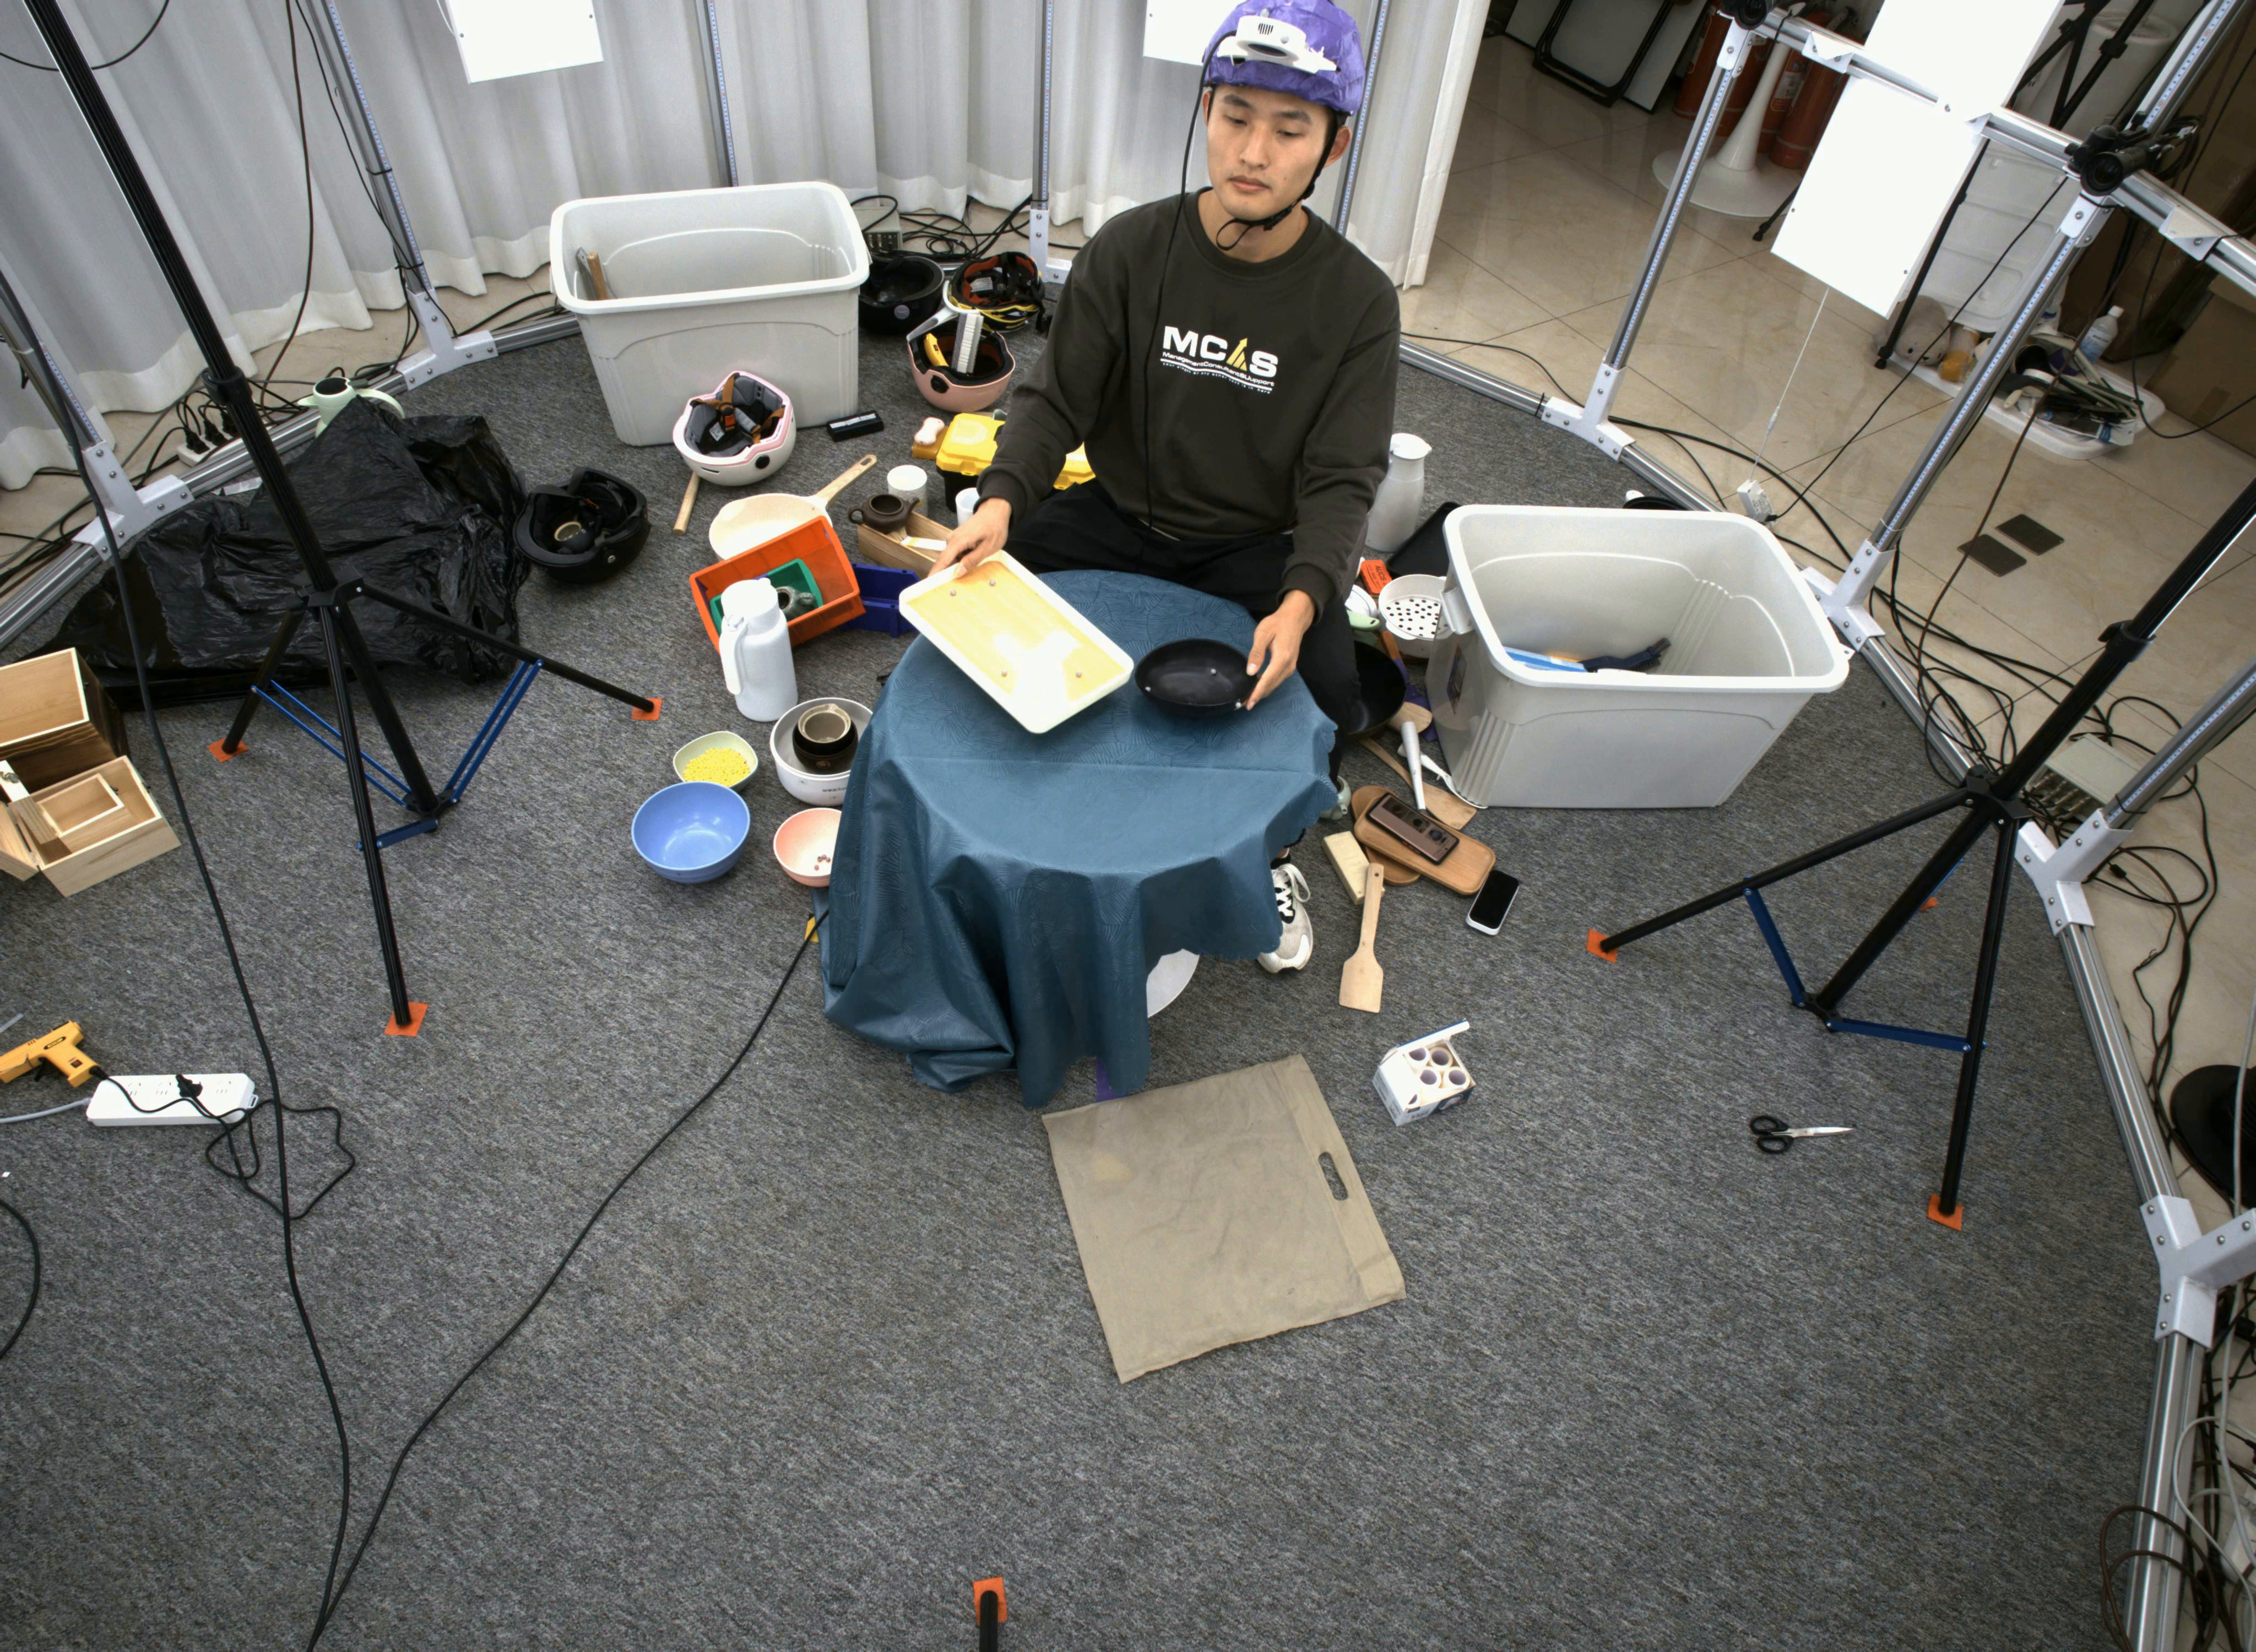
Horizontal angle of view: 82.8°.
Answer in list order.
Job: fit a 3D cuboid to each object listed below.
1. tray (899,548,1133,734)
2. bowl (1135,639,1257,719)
[{"bbox_3d":[-0.156,-0.263,1.793,0.193,0.027,0.304,-34,65,-31],"label":"tray"},{"bbox_3d":[0.094,-0.194,1.801,0.170,0.065,0.141,2,47,1],"label":"bowl"}]
